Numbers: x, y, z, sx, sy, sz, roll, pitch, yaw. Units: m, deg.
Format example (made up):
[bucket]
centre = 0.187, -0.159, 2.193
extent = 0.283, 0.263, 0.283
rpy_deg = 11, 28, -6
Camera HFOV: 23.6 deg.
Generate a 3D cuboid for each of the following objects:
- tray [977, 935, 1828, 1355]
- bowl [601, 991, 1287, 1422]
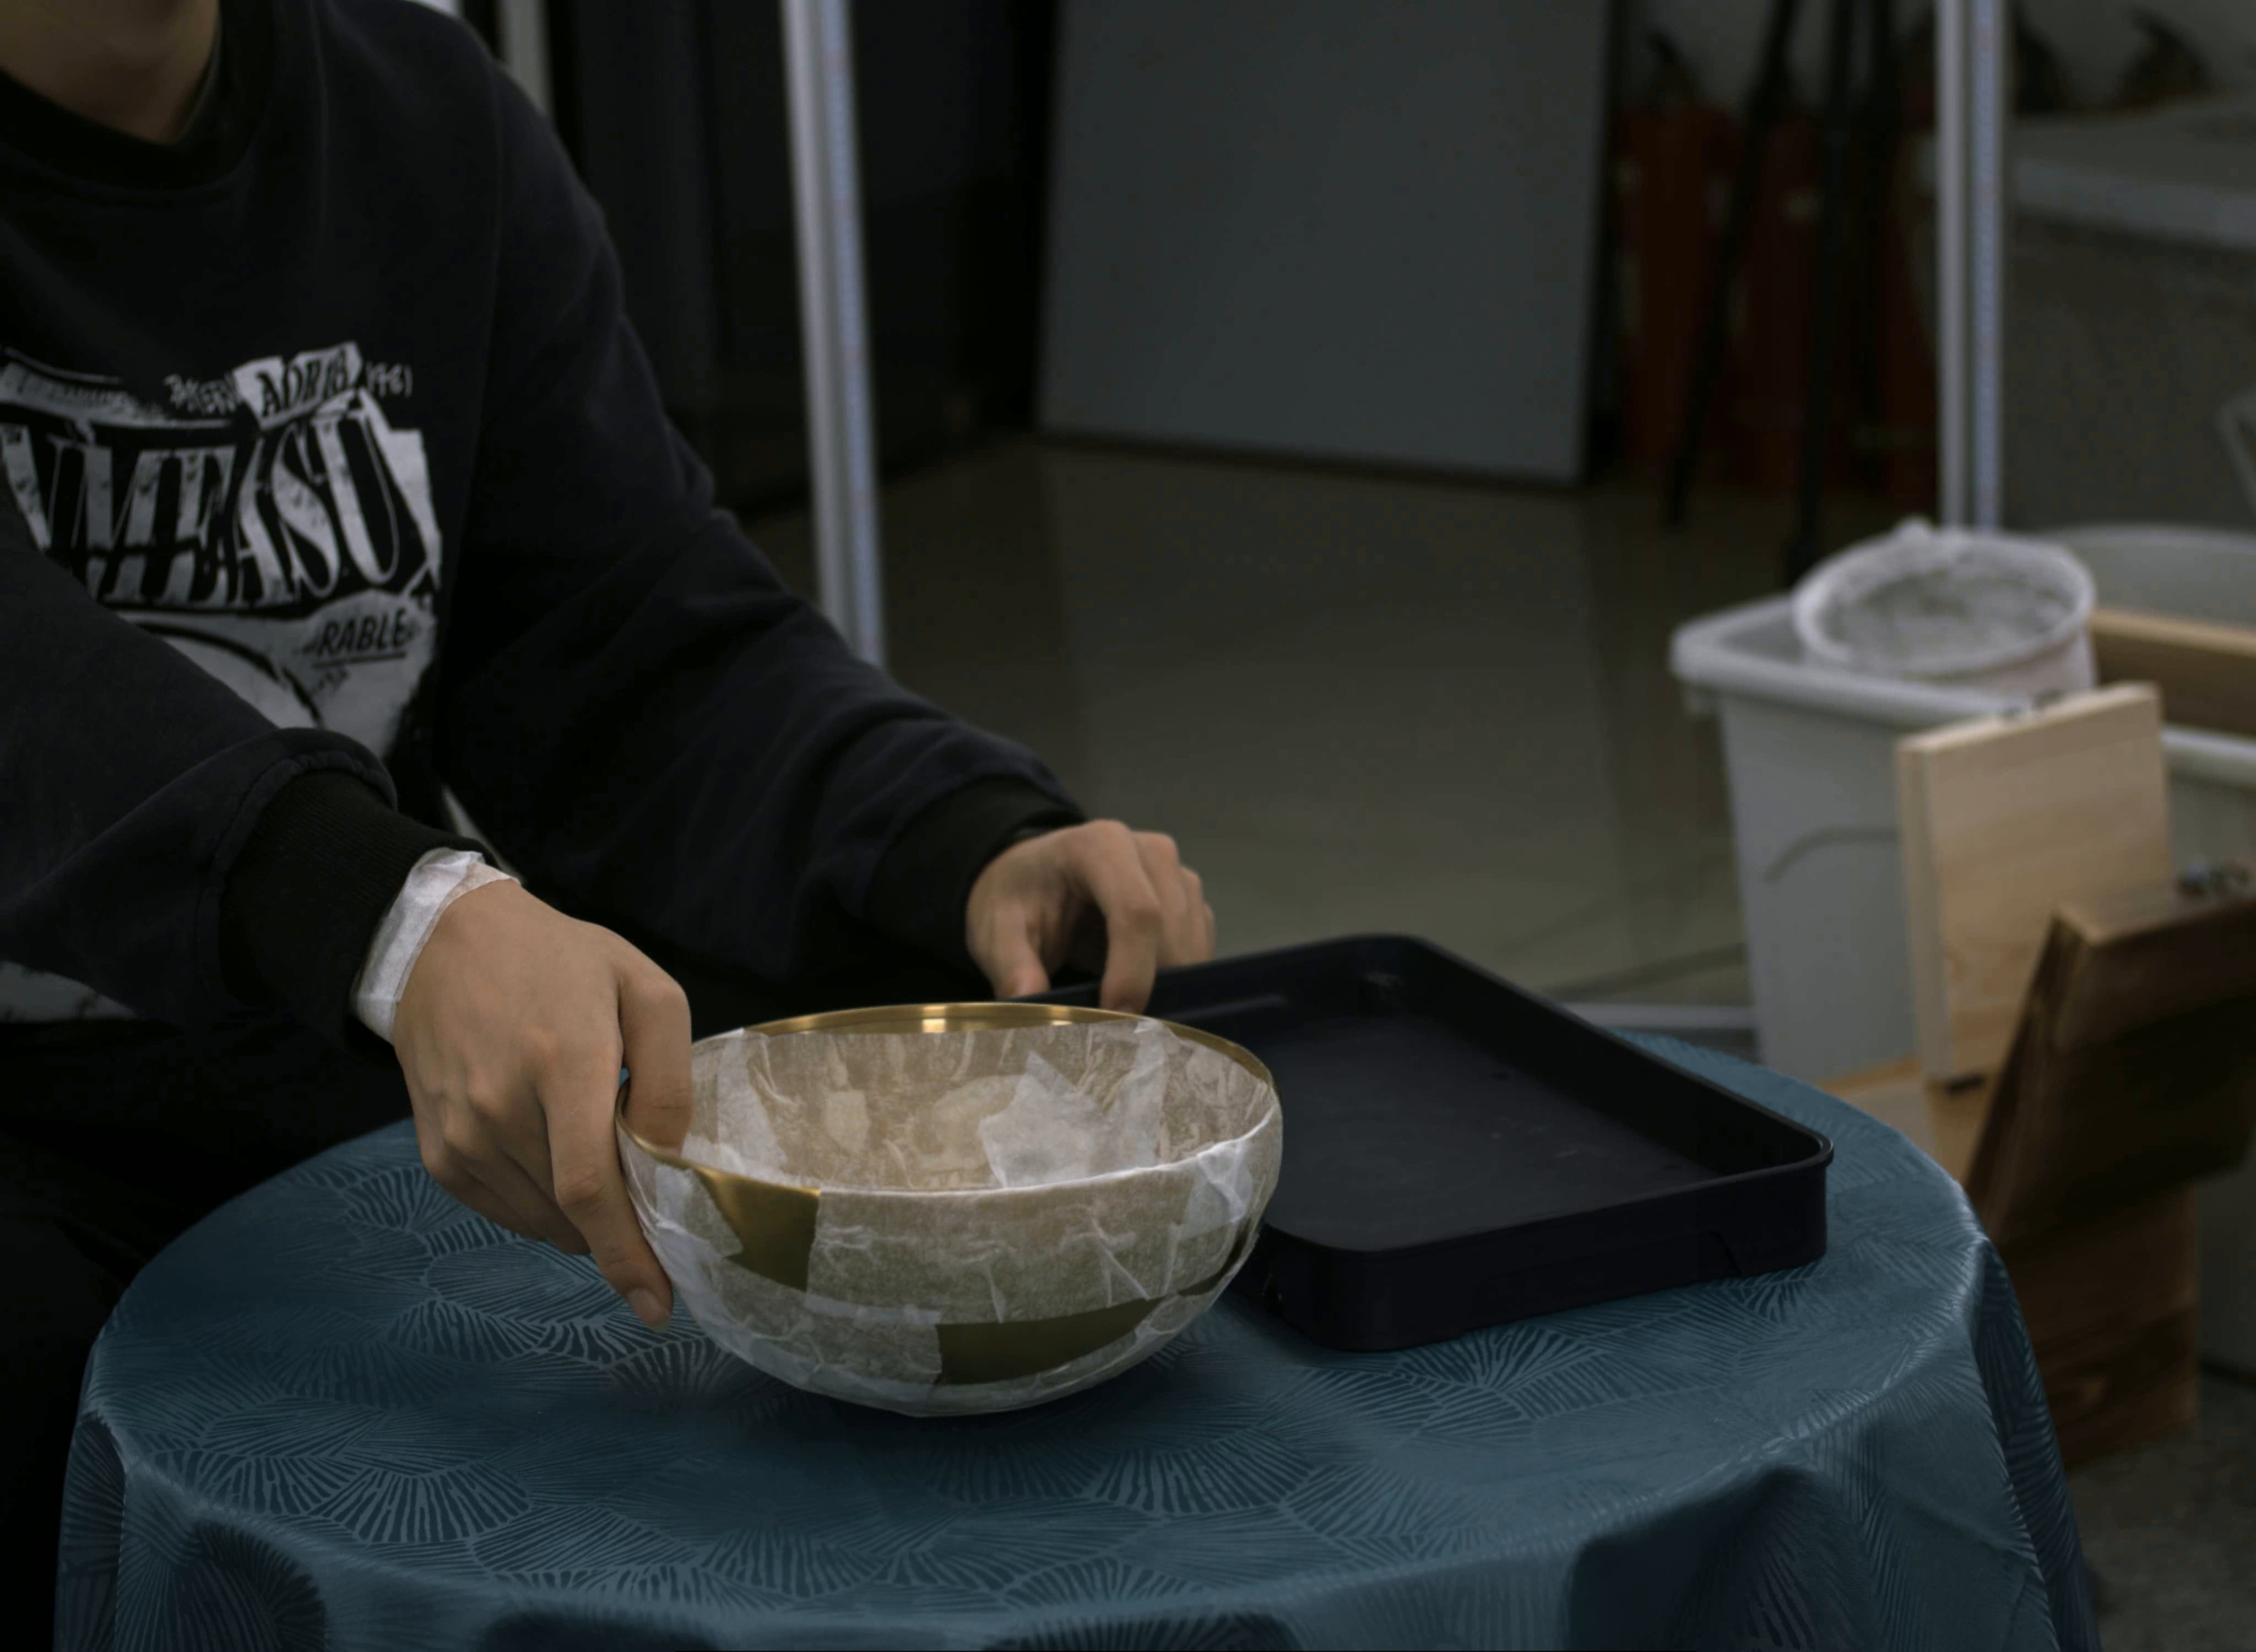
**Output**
[tray]
centre = 0.080, 0.099, 1.765
extent = 0.180, 0.037, 0.321
rpy_deg = -9, 15, -21
[bowl]
centre = -0.051, 0.119, 1.597
extent = 0.212, 0.095, 0.215
rpy_deg = -3, 14, 0
